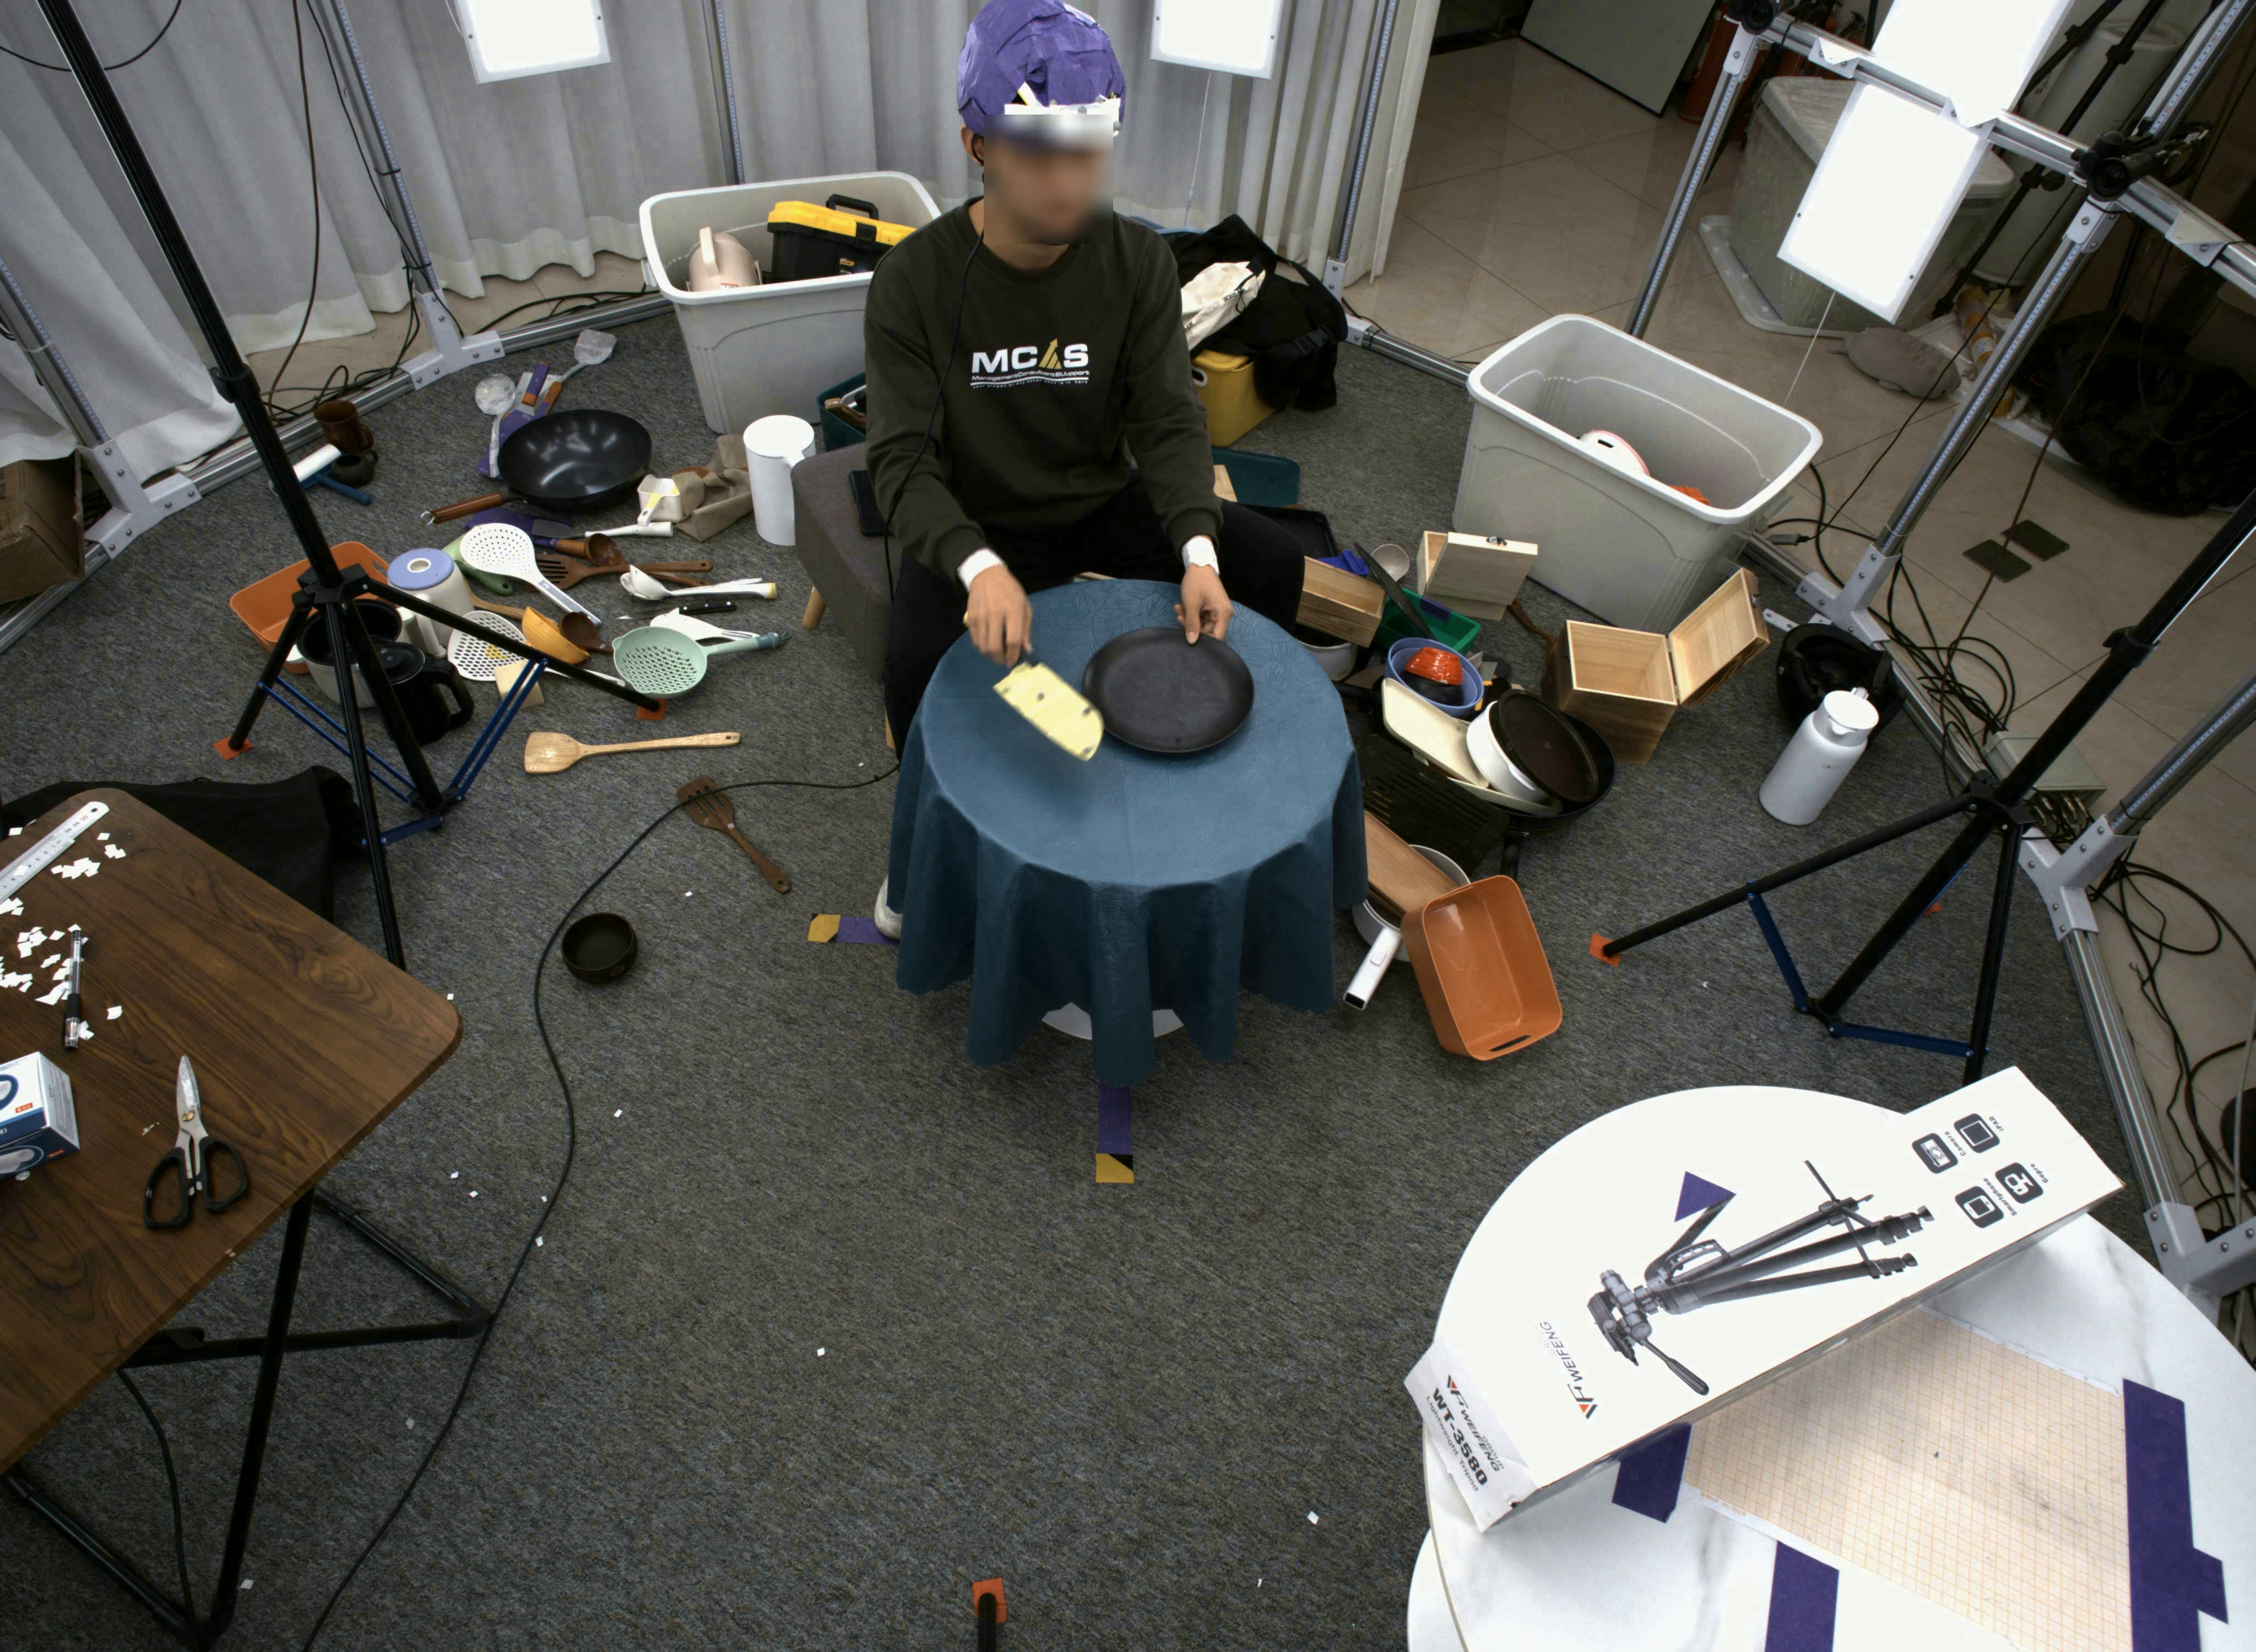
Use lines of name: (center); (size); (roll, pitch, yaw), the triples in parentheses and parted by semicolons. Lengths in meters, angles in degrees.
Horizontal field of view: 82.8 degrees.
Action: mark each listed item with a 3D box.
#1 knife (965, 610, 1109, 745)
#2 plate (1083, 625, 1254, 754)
knife: (-0.130, -0.197, 1.716); (0.081, 0.026, 0.294); (-36, 63, -22)
plate: (0.057, -0.191, 1.815); (0.244, 0.023, 0.250); (1, 52, -1)
